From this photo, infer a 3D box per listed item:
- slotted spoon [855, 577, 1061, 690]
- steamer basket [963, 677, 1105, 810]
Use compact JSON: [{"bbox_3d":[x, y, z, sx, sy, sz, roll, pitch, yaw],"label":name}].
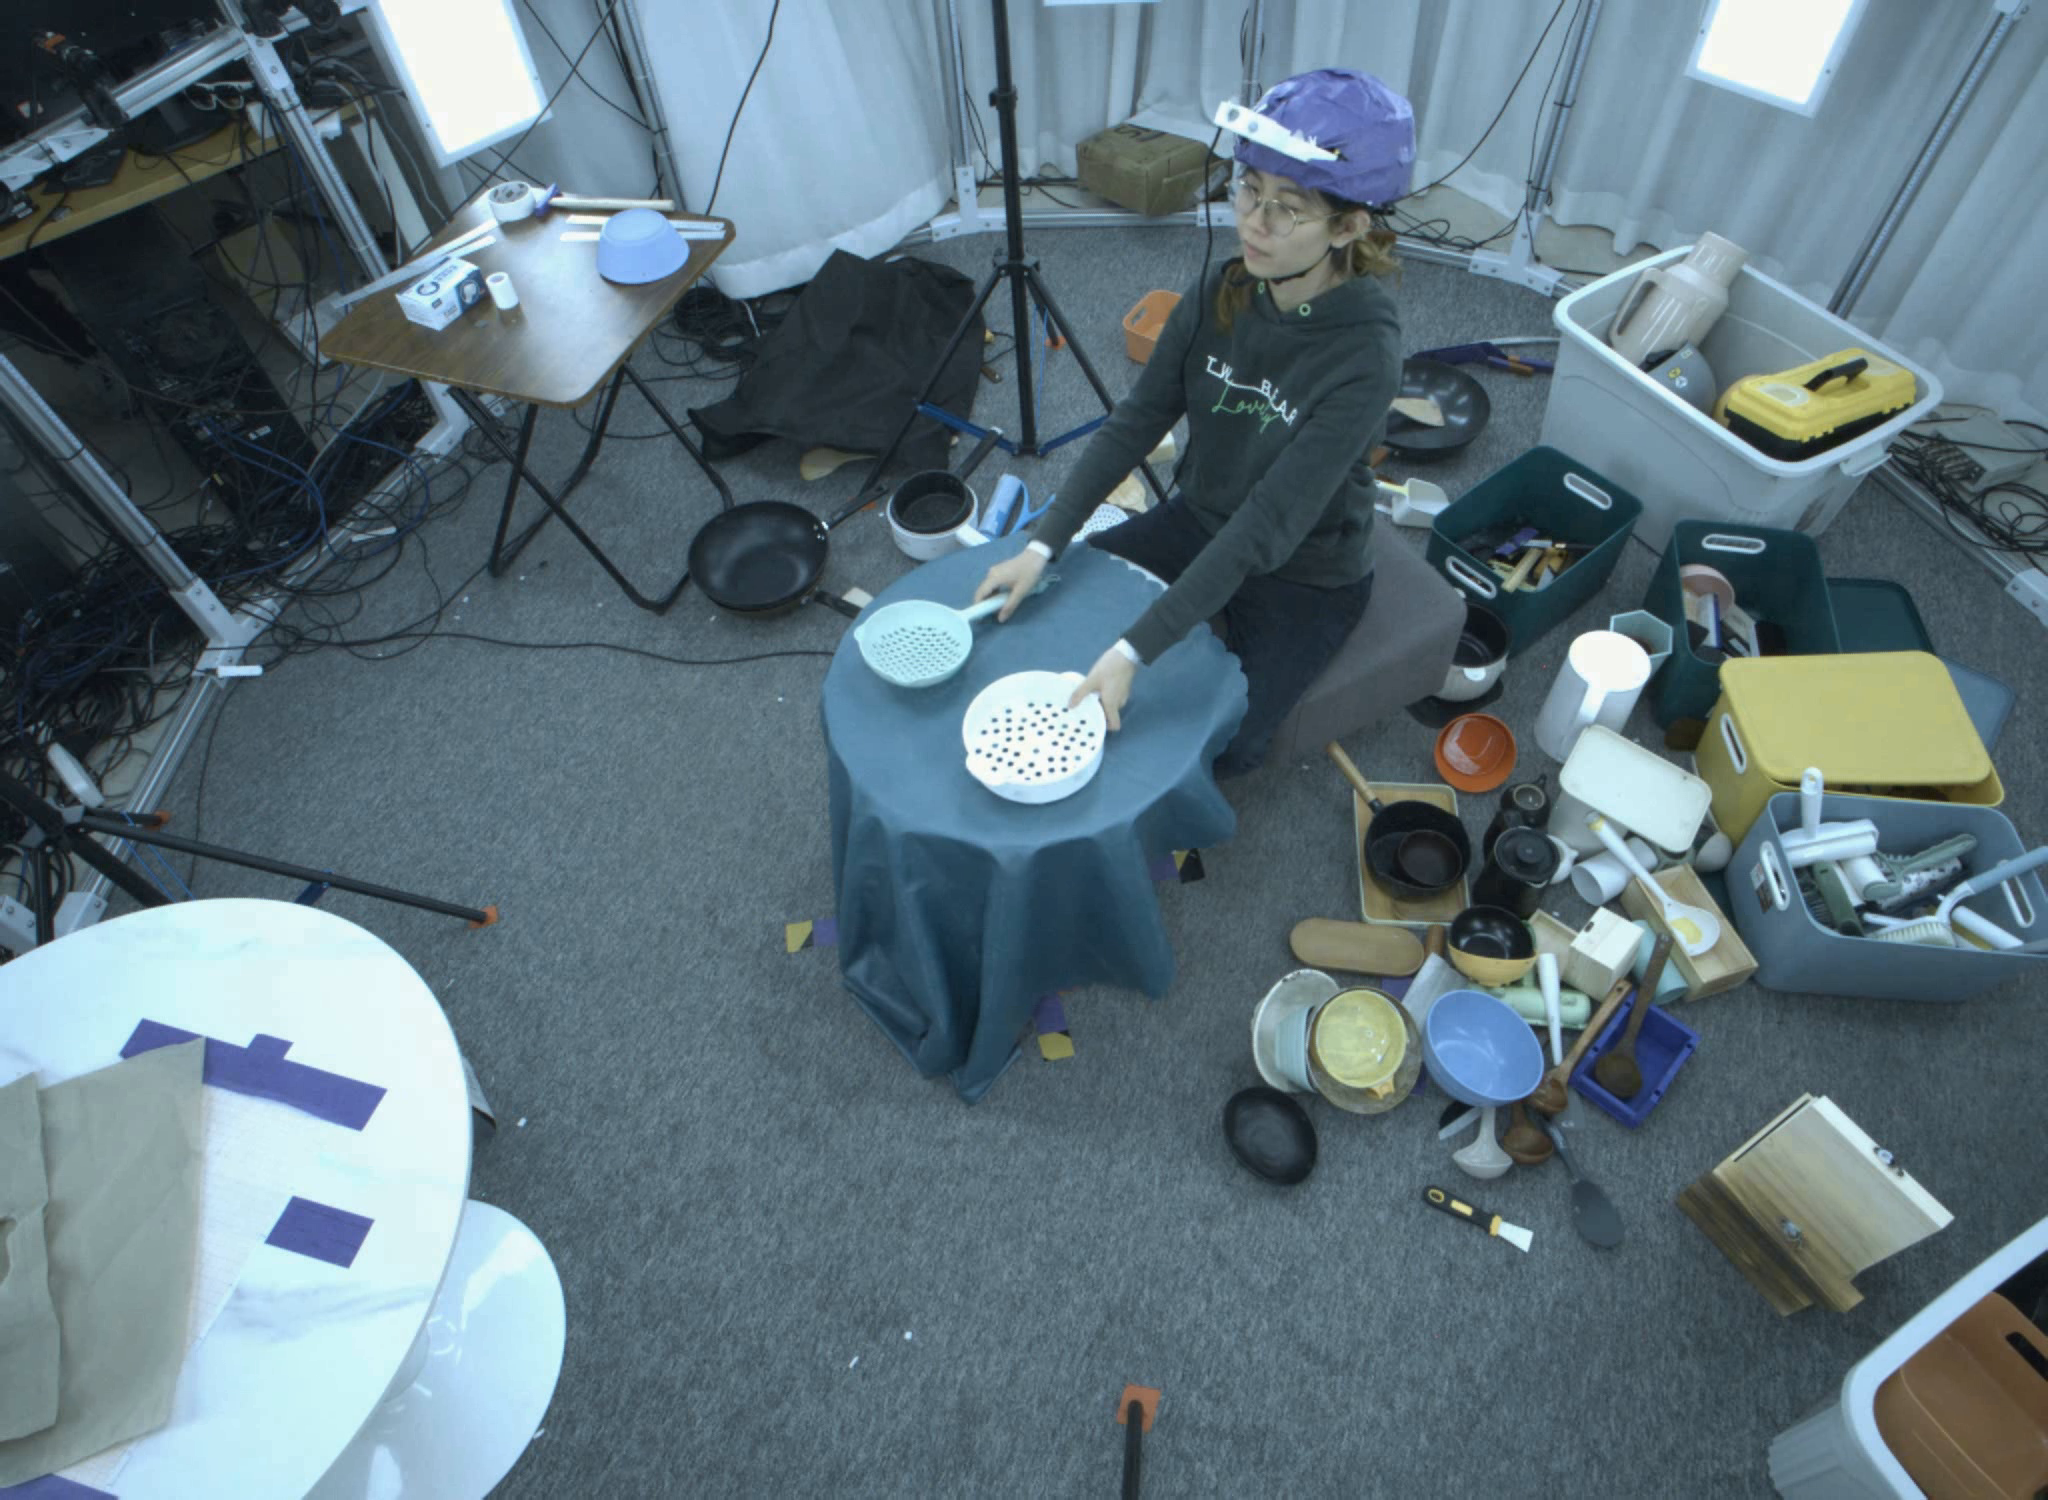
[{"bbox_3d":[-0.086,-0.199,1.900,0.361,0.076,0.166,-34,61,-20],"label":"slotted spoon"},{"bbox_3d":[0.015,-0.008,1.763,0.198,0.070,0.232,36,63,23],"label":"steamer basket"}]
